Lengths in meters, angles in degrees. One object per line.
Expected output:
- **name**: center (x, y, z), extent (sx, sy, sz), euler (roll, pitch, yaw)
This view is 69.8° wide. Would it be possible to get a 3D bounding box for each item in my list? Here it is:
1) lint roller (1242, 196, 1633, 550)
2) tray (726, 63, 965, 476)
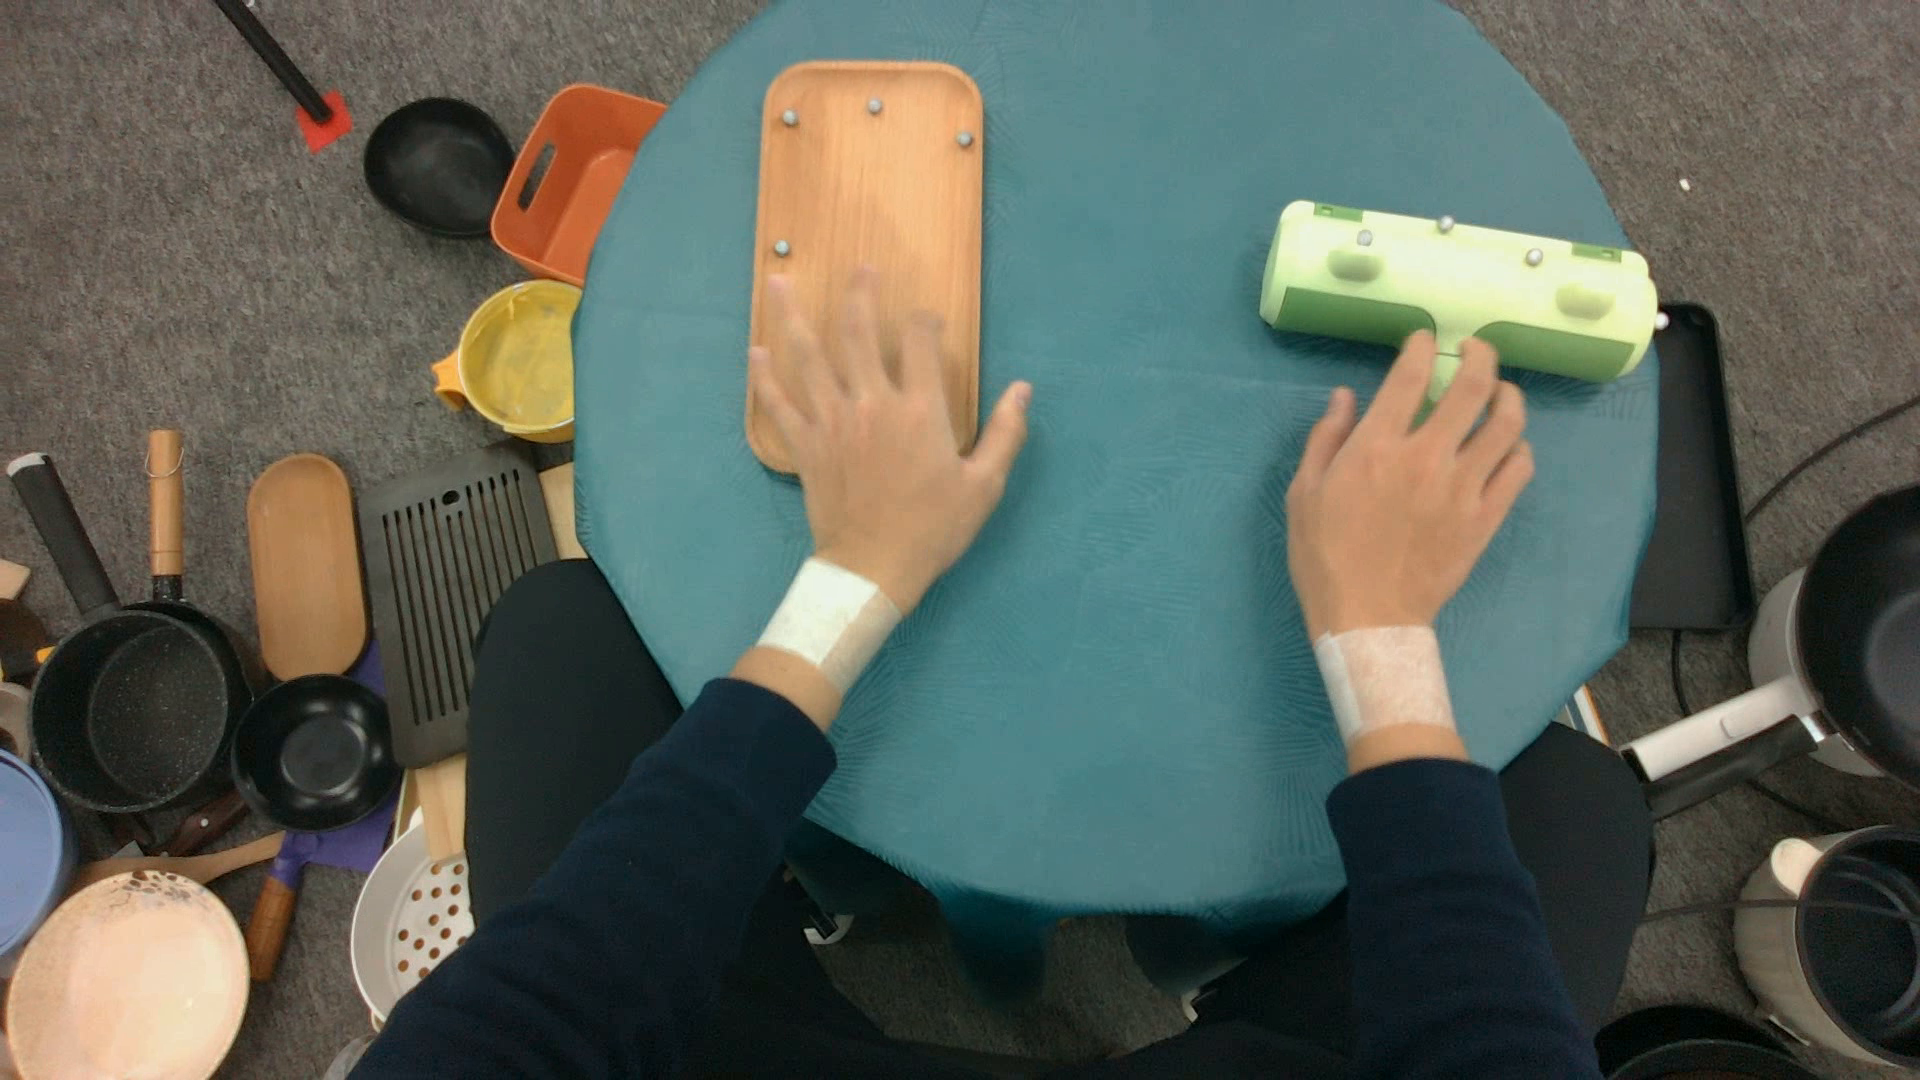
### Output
- **lint roller**: center (0.245, -0.091, 0.713), extent (0.198, 0.082, 0.184), euler (8, 68, 4)
- **tray**: center (-0.062, -0.155, 0.772), extent (0.130, 0.023, 0.251), euler (-1, 75, 3)
